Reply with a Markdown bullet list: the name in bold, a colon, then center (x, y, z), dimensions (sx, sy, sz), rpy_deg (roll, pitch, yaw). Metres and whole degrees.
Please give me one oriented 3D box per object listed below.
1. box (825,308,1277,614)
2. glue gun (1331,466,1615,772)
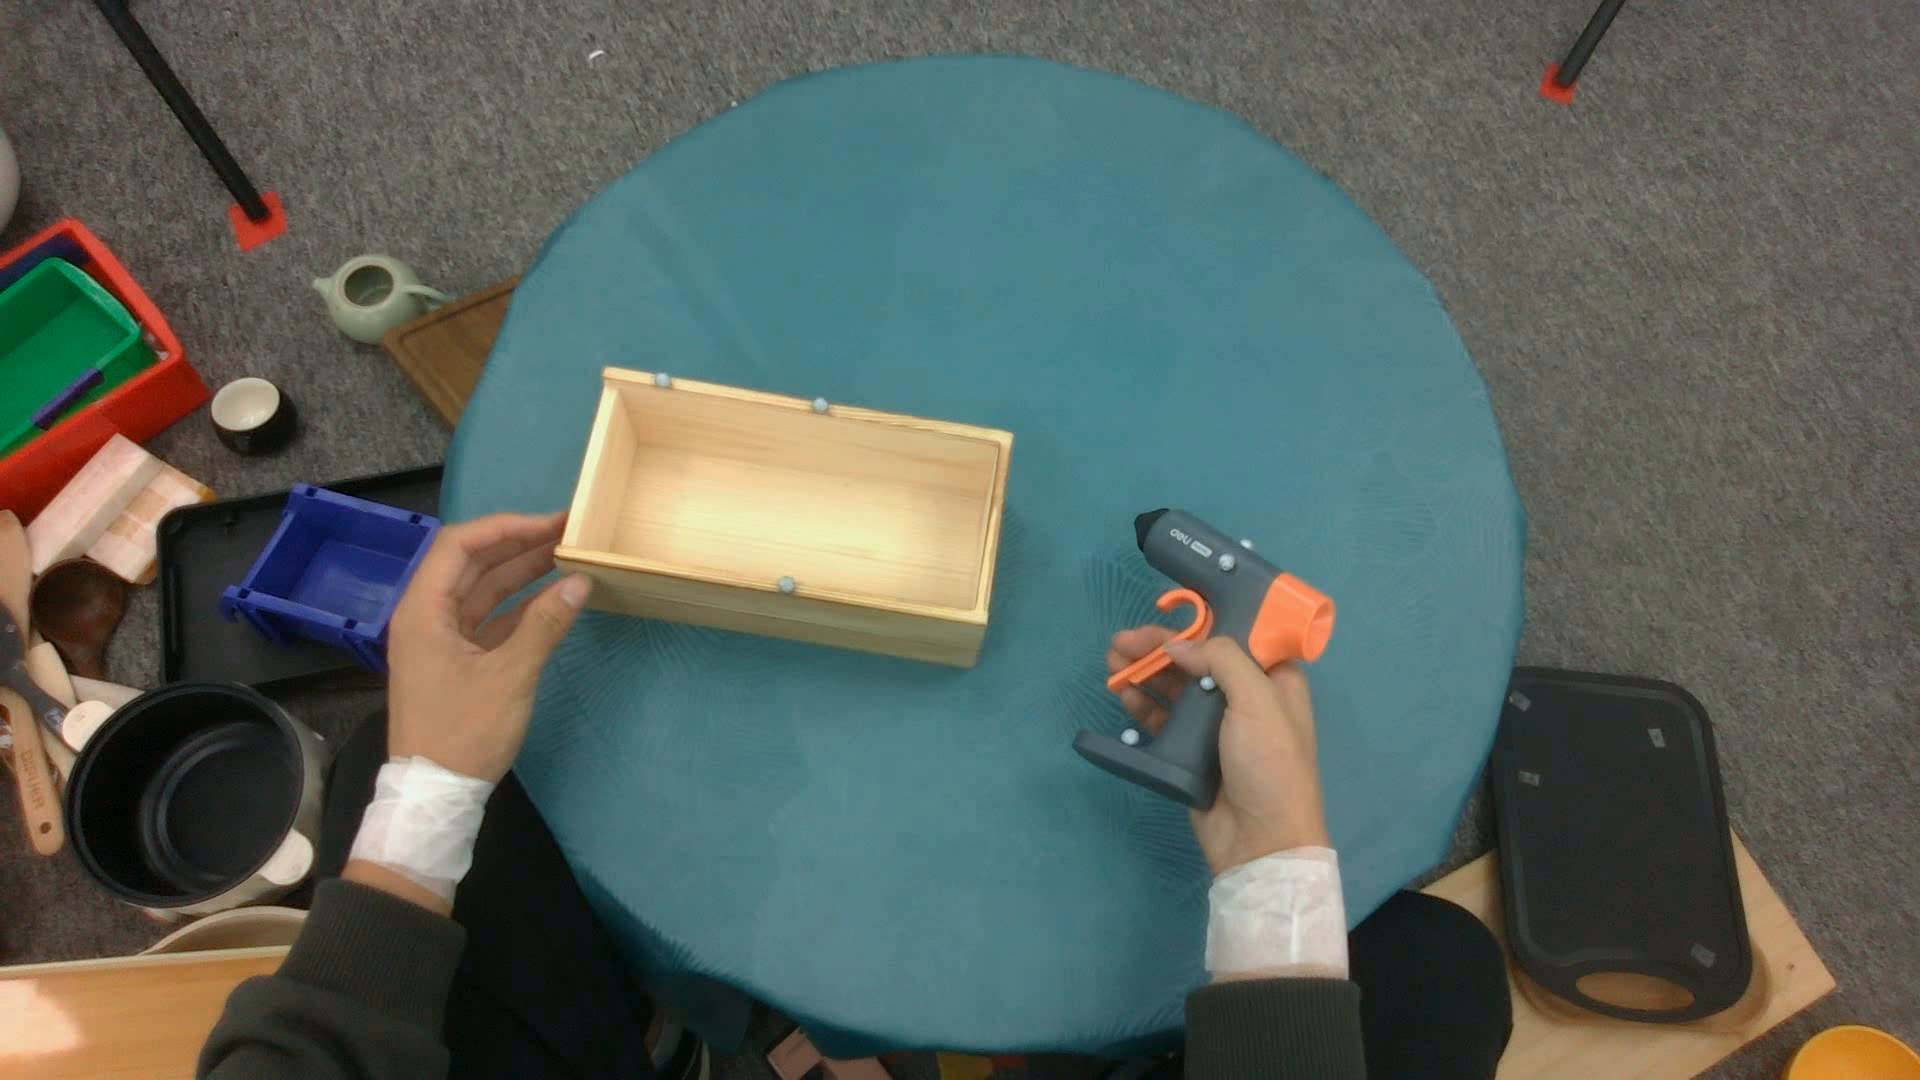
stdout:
- **box**: center (0.049, -0.041, 0.727), dimensions (0.211, 0.080, 0.108), rpy_deg (11, 74, 9)
- **glue gun**: center (0.237, 0.032, 0.660), dimensions (0.118, 0.041, 0.140), rpy_deg (20, 76, 51)
